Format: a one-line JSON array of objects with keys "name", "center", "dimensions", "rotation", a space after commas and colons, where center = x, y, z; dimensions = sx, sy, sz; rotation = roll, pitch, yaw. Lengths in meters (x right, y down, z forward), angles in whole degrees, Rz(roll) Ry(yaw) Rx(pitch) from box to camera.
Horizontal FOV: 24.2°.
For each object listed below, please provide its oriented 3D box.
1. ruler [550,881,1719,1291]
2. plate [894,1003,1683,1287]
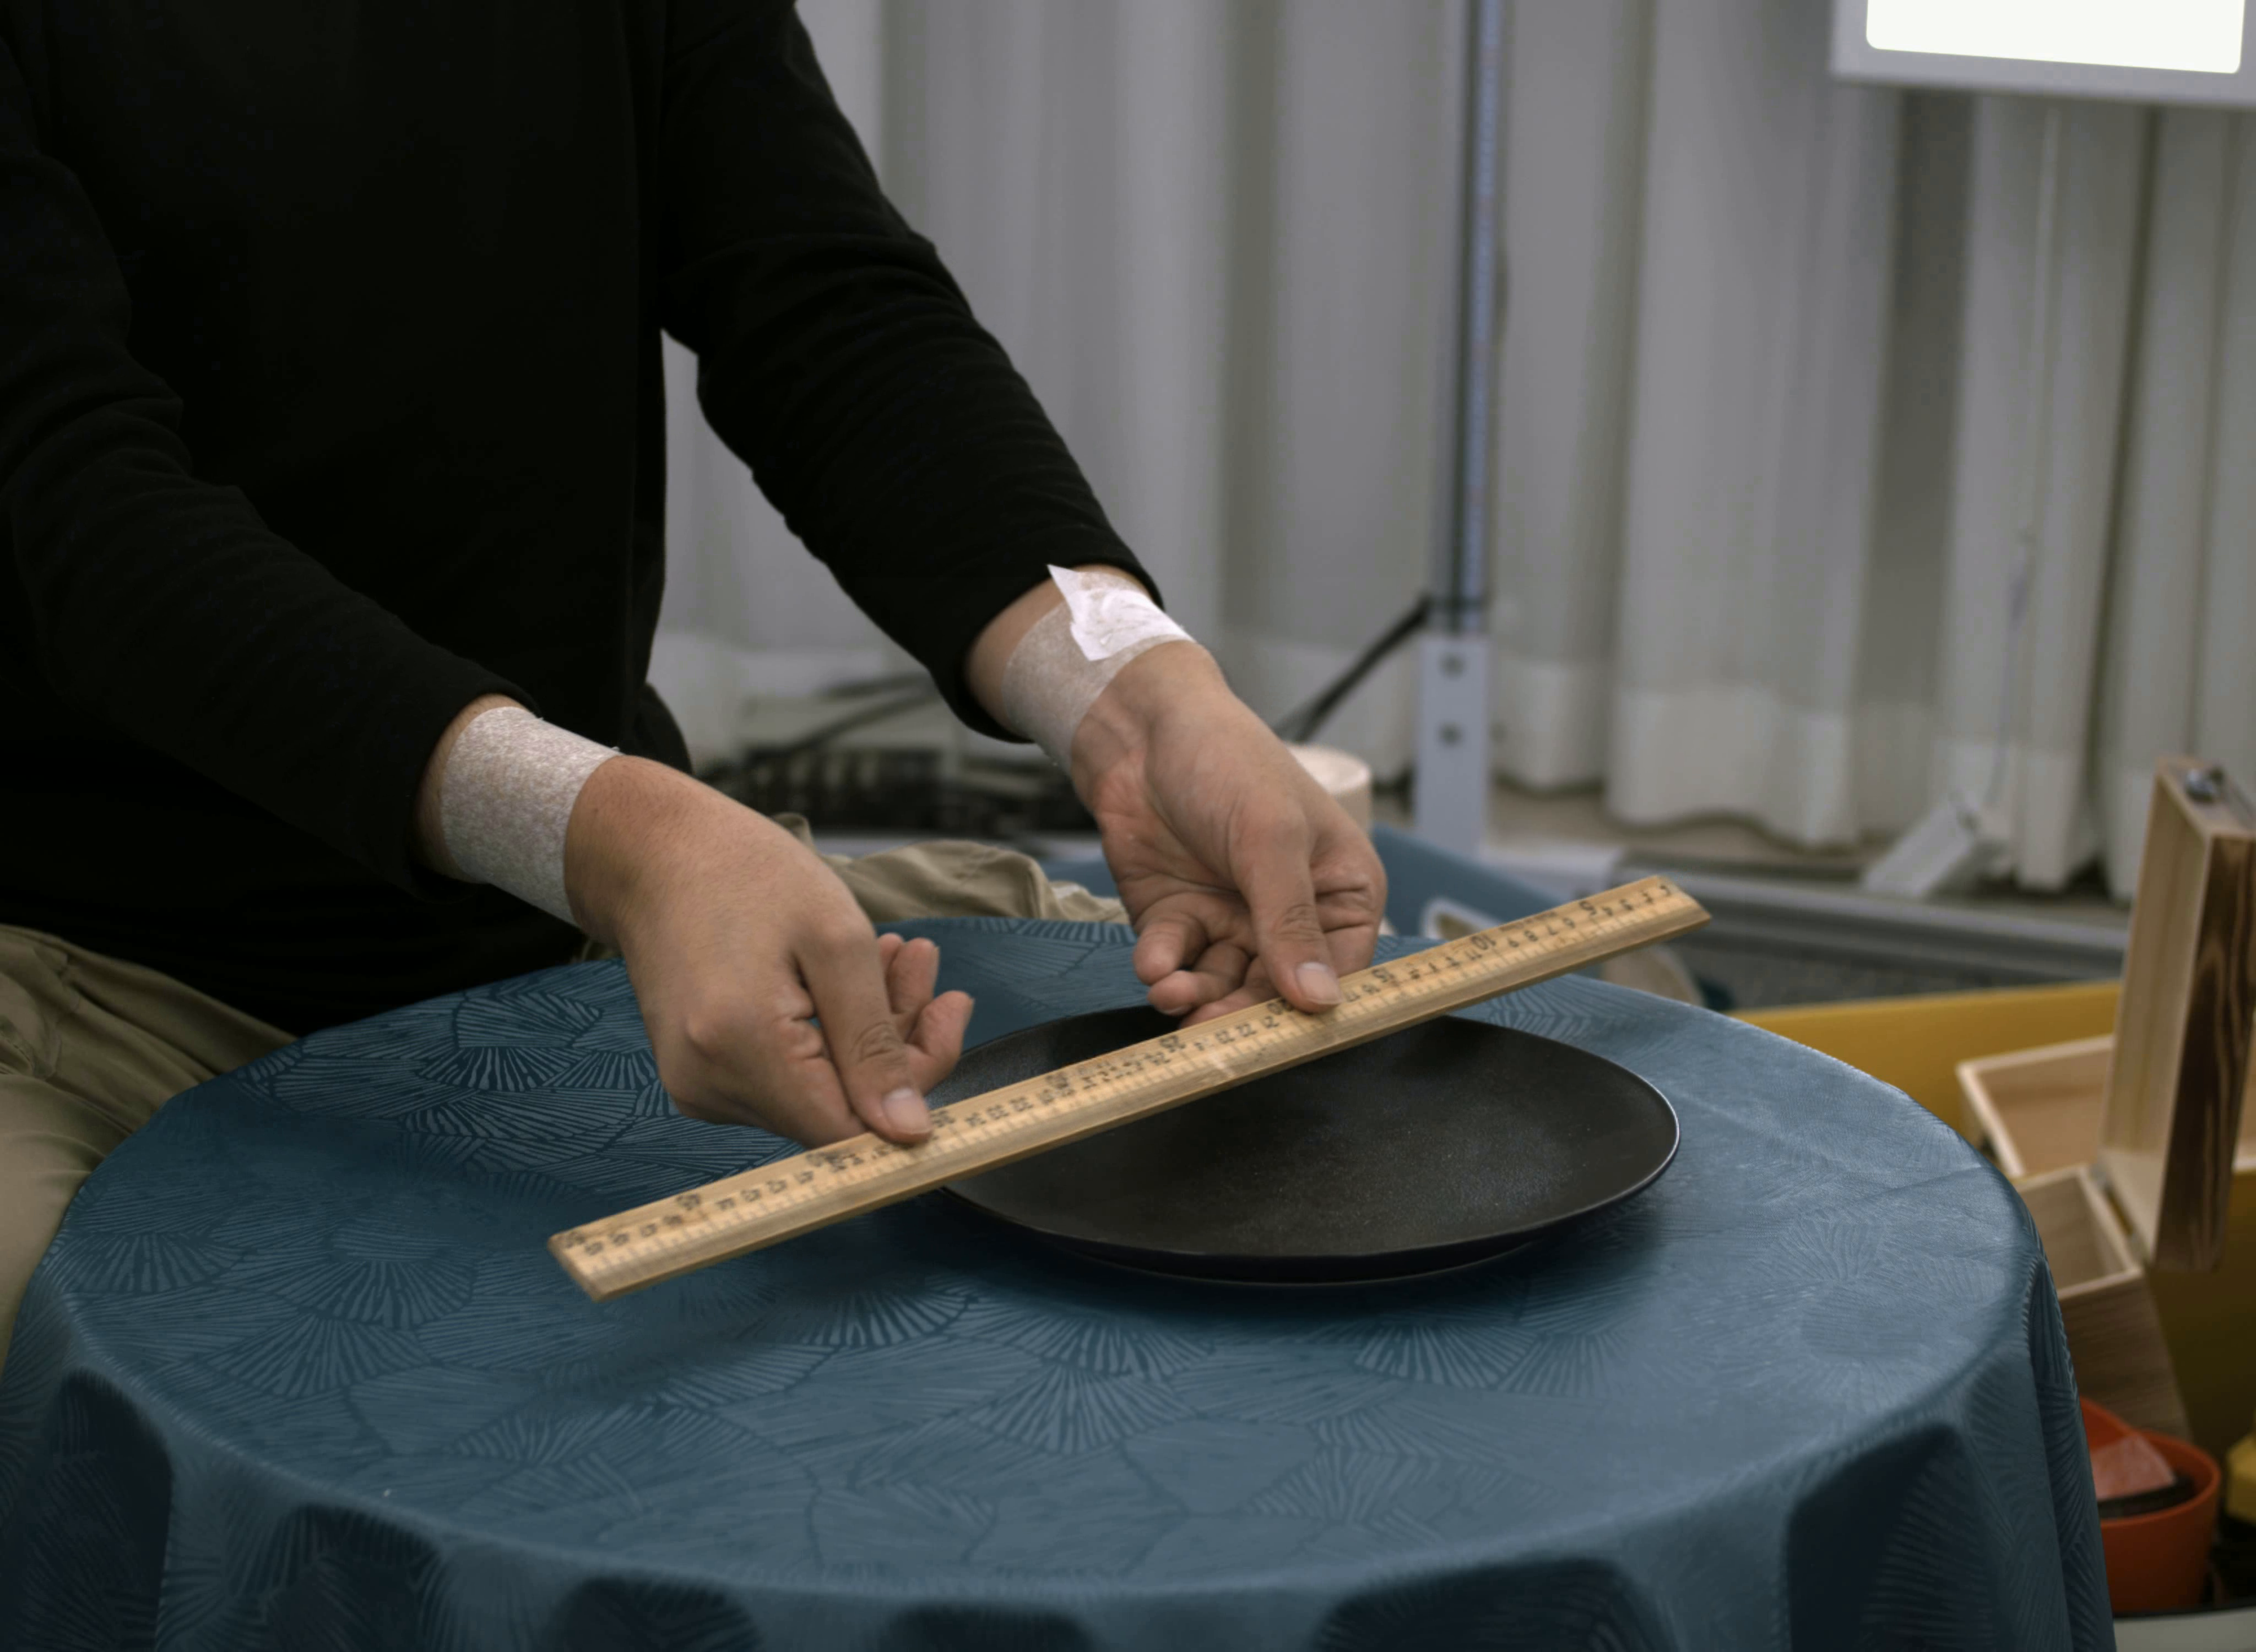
[{"name": "ruler", "center": [0.020, 0.073, 1.627], "dimensions": [0.503, 0.006, 0.026], "rotation": [-15, 50, -44]}, {"name": "plate", "center": [0.049, 0.100, 1.623], "dimensions": [0.243, 0.023, 0.243], "rotation": [0, 15, 0]}]
